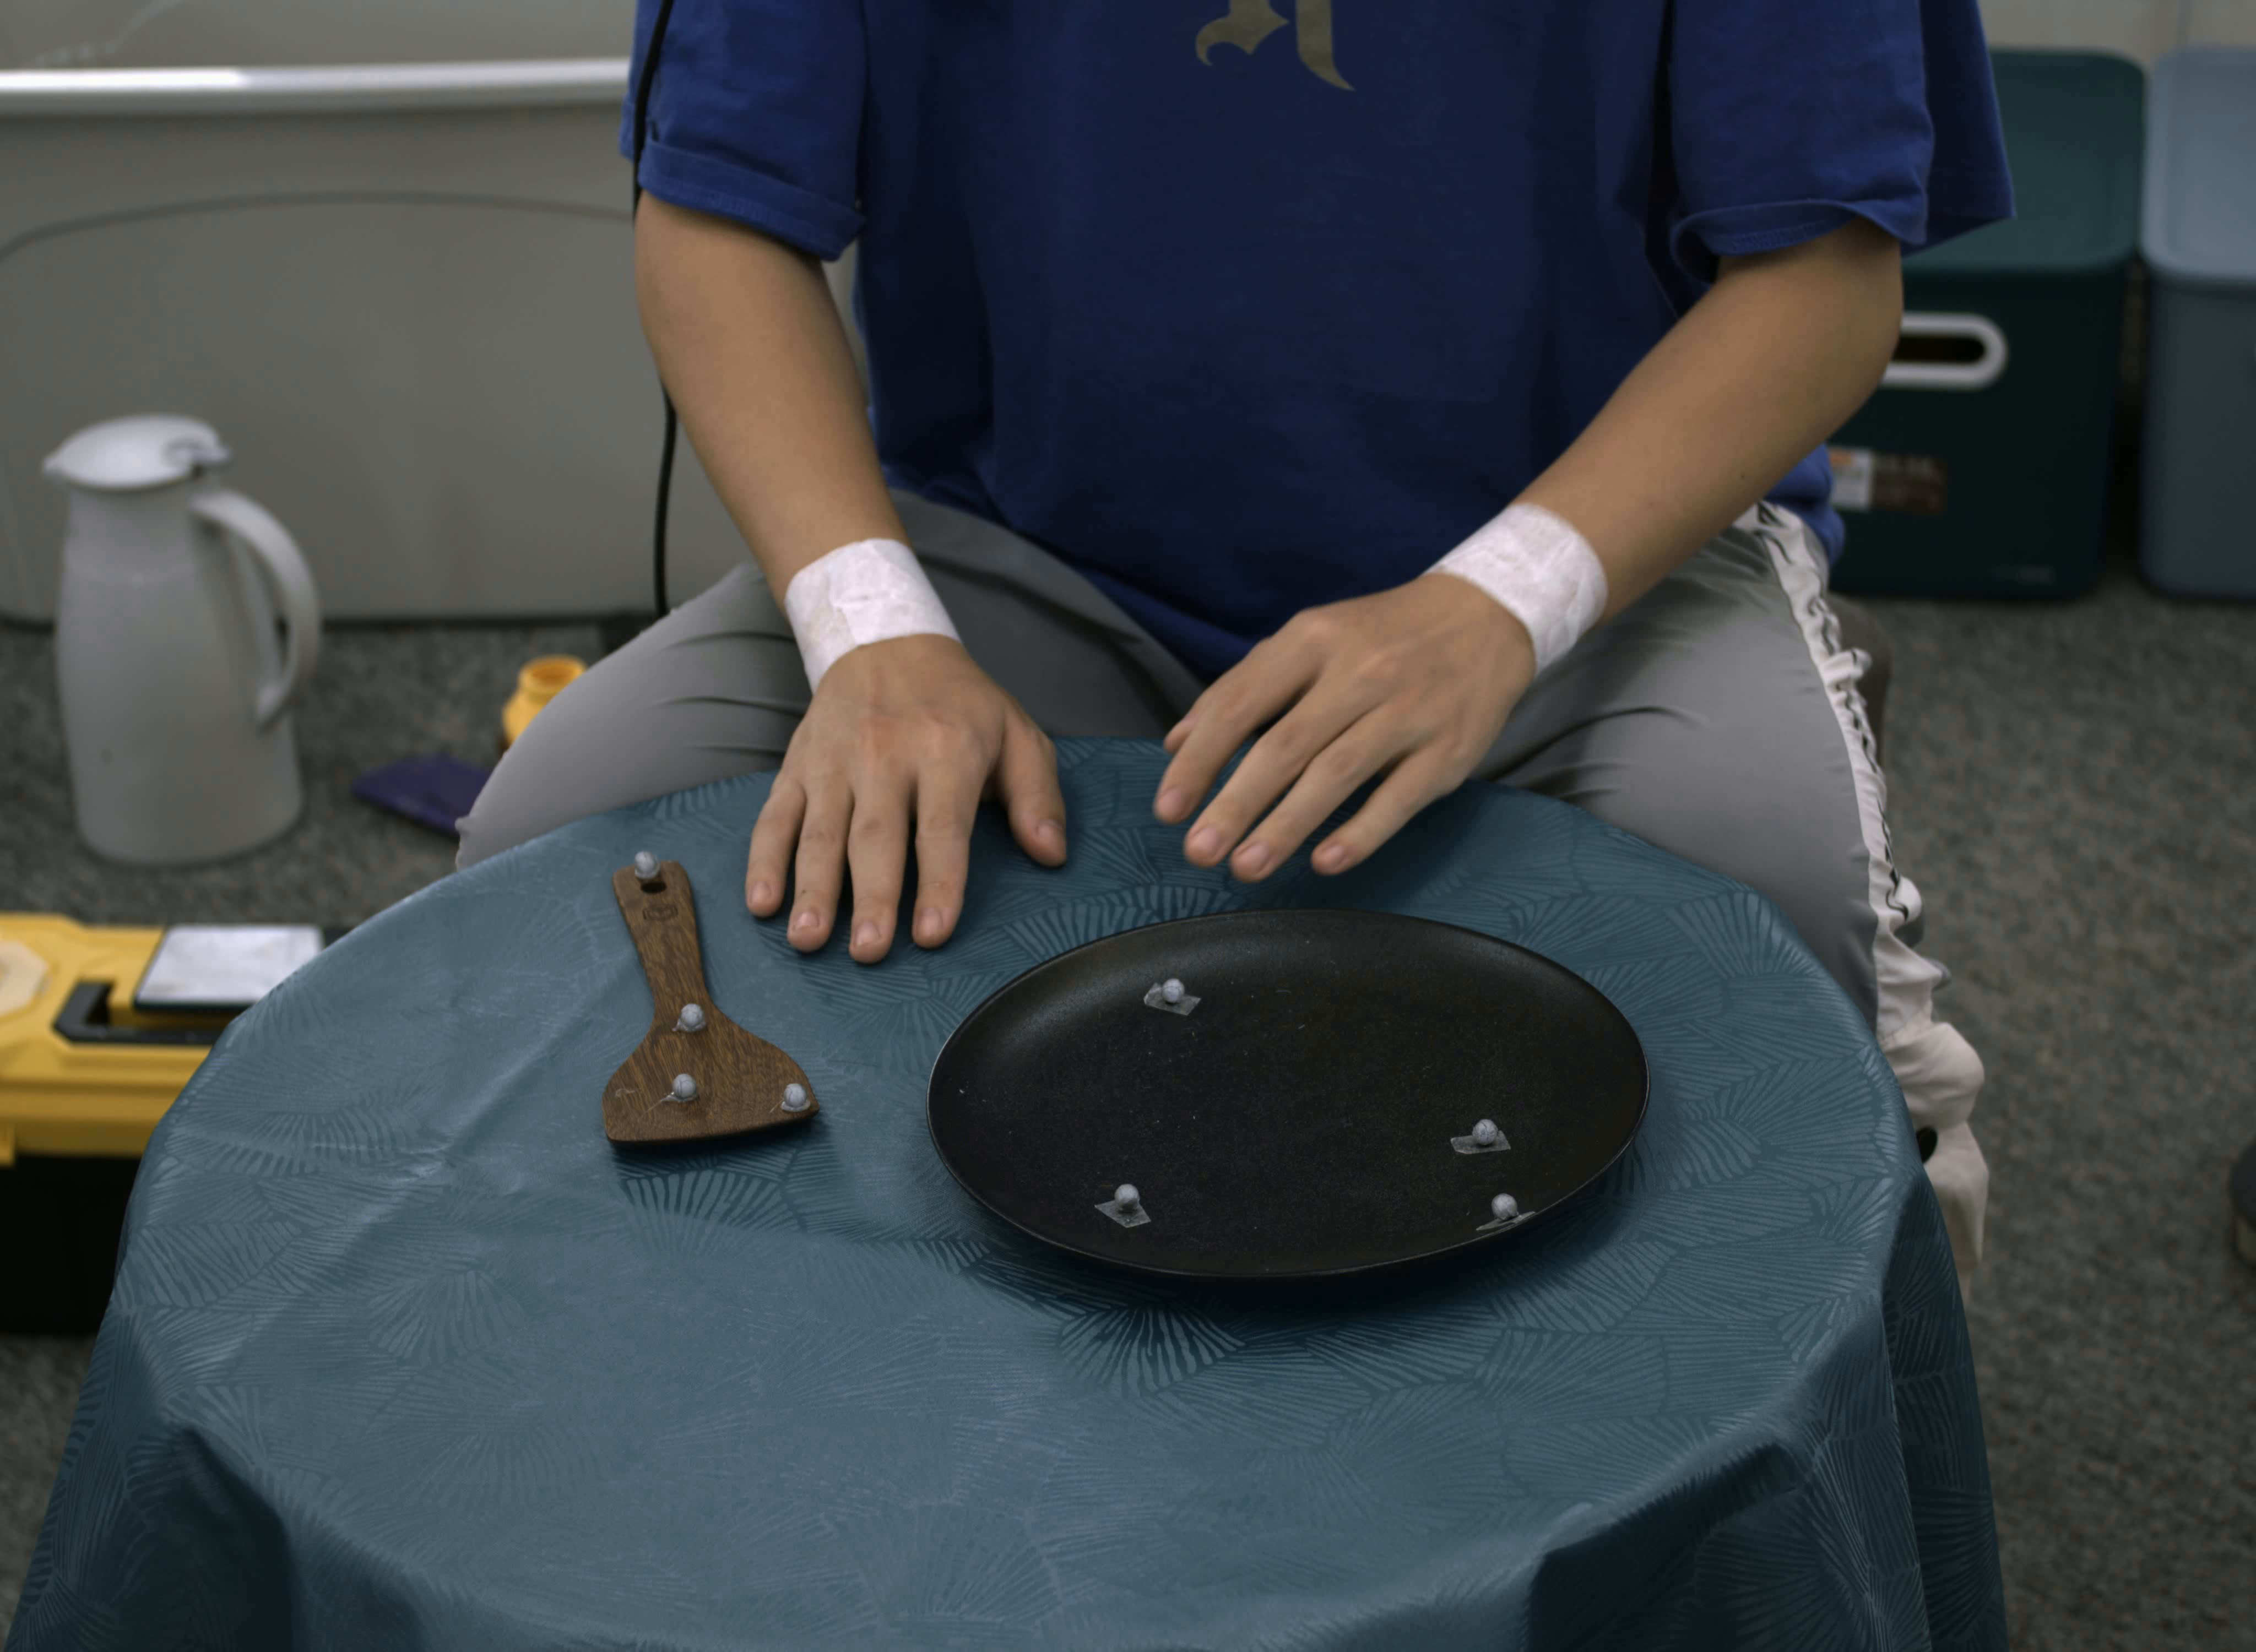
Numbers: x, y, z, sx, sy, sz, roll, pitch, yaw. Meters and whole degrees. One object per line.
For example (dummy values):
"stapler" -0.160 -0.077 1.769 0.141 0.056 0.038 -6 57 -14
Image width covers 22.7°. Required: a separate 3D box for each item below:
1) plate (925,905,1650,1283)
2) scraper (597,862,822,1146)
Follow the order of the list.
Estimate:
"plate" 0.053 0.093 1.884 0.243 0.023 0.248 -2 27 2
"scraper" -0.158 0.062 1.983 0.076 0.011 0.214 -7 27 -9
